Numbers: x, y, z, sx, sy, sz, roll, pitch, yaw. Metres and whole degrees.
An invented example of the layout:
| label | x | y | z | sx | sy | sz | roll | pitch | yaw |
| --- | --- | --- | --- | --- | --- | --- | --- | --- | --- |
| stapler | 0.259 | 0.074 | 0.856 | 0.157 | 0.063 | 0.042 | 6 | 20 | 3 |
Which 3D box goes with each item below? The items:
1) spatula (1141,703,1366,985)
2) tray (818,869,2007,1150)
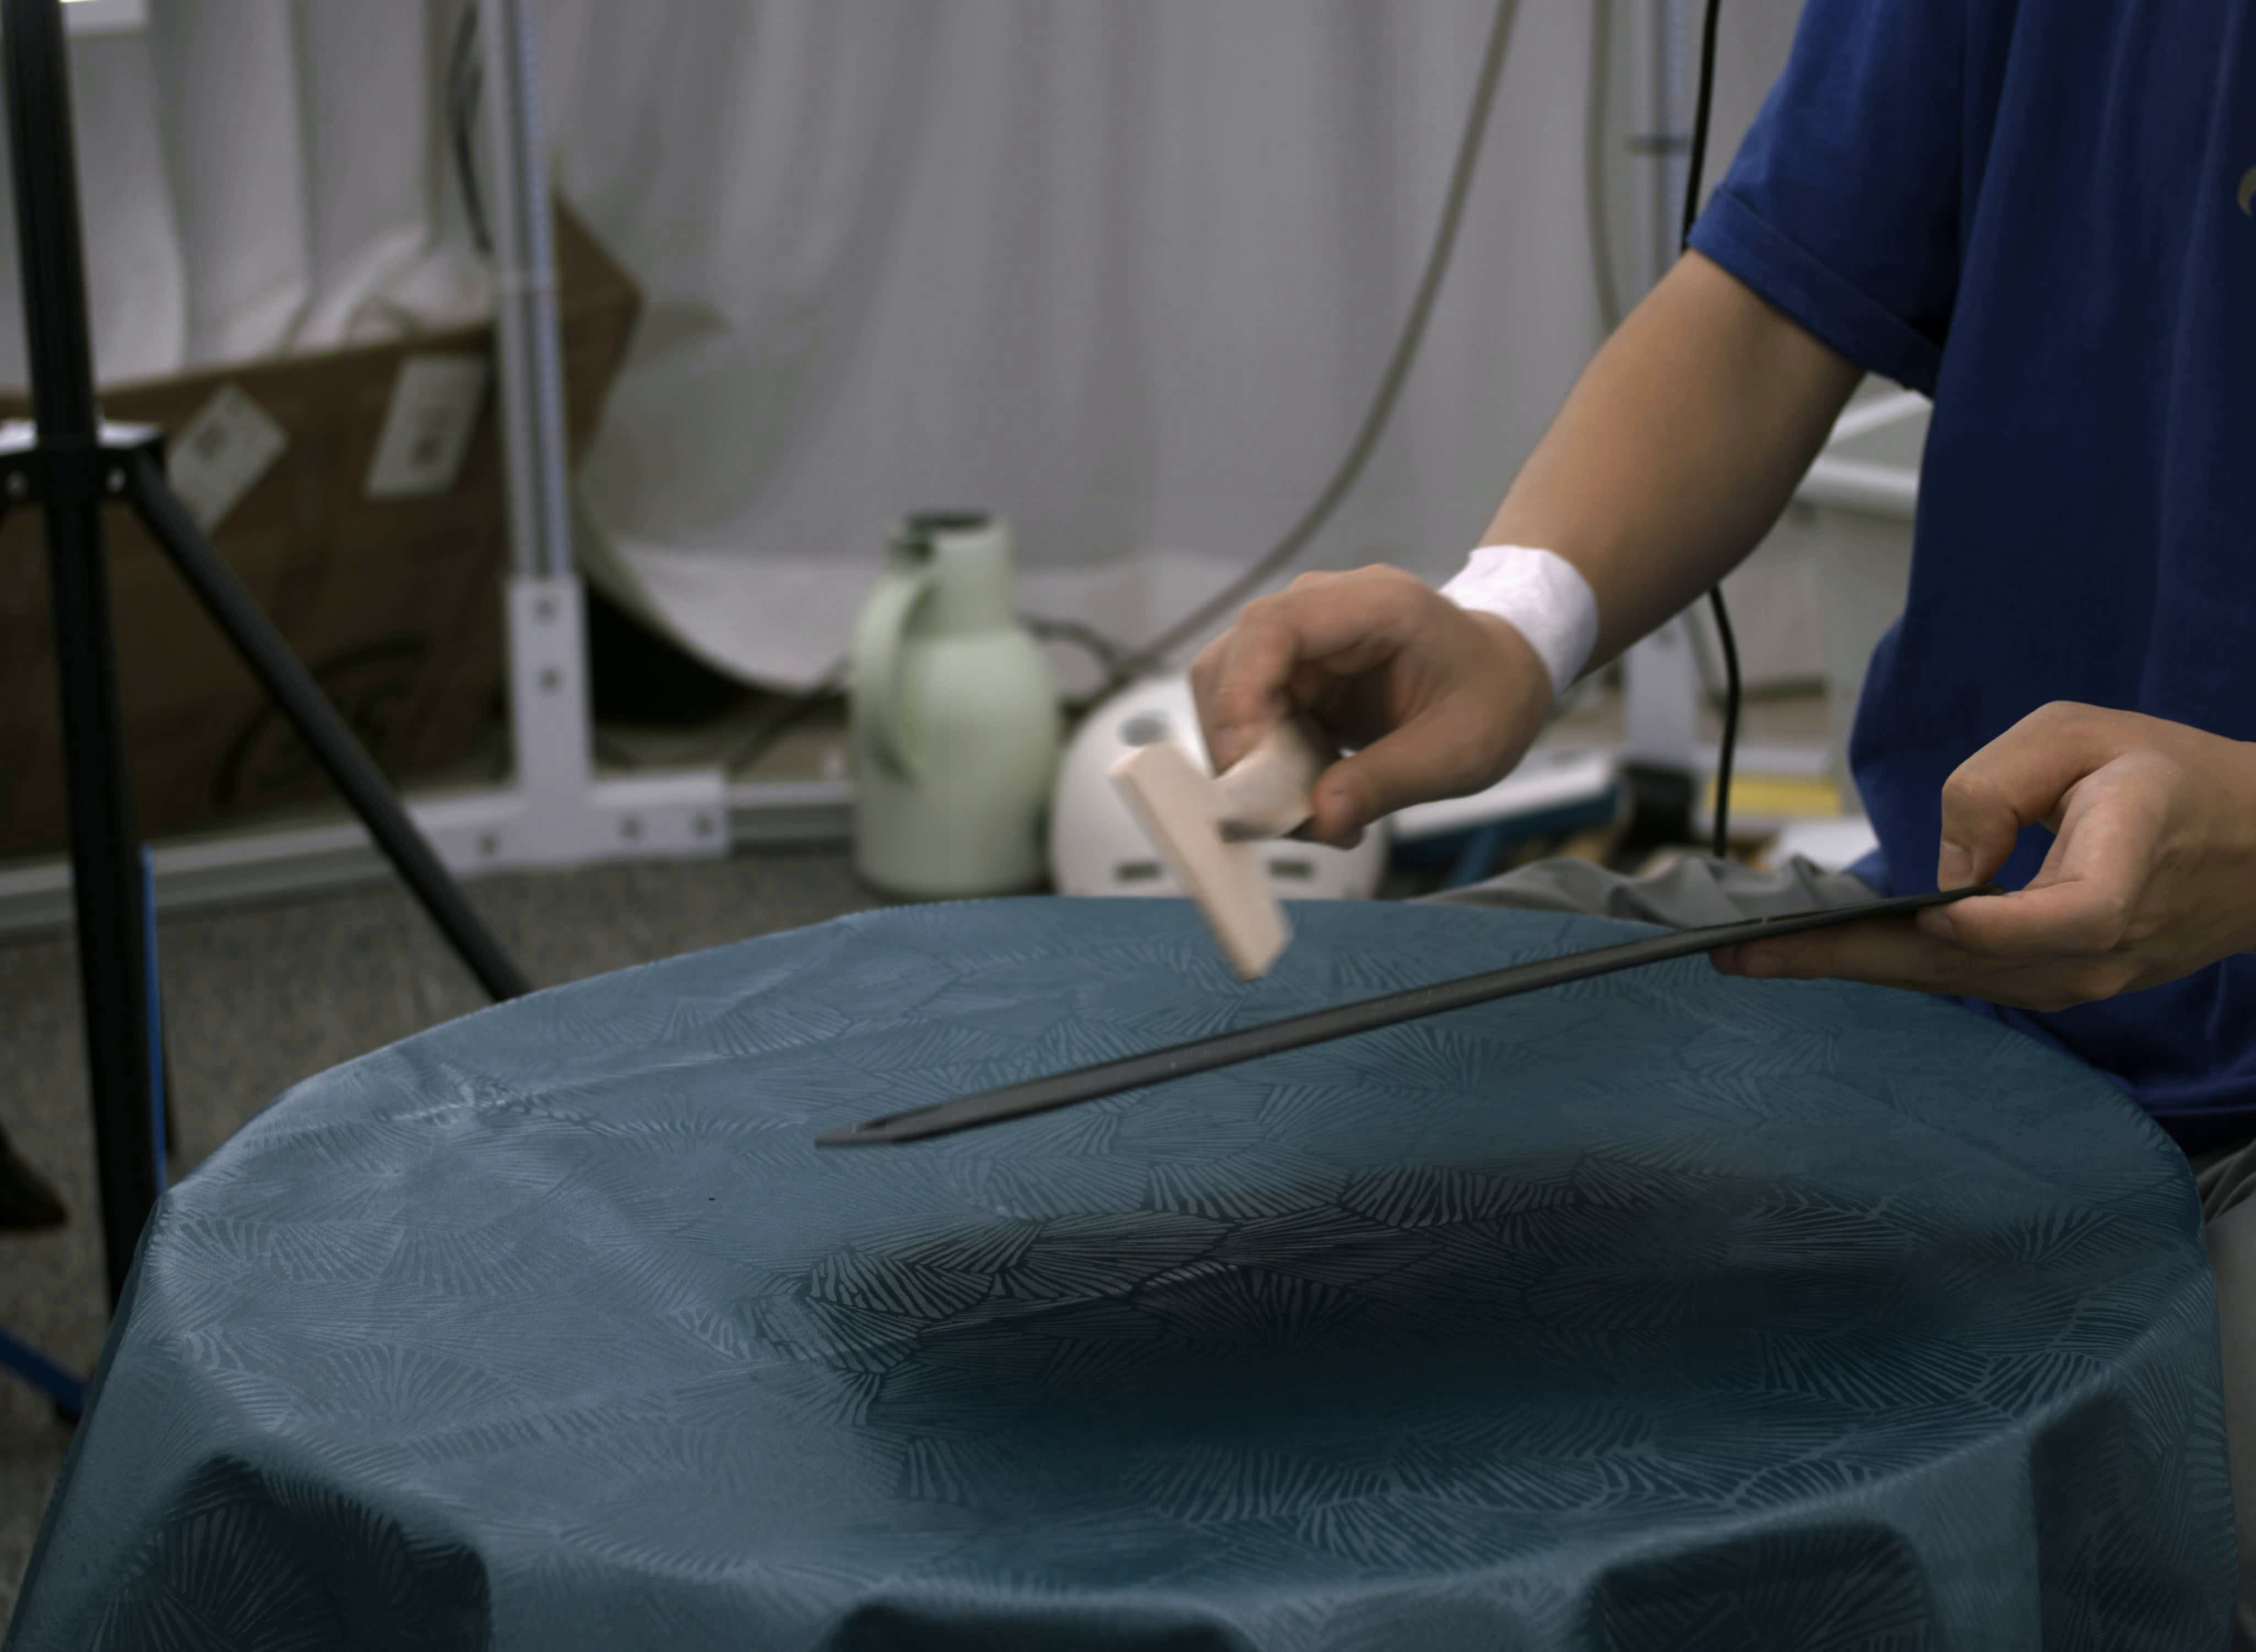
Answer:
| label | x | y | z | sx | sy | sz | roll | pitch | yaw |
| --- | --- | --- | --- | --- | --- | --- | --- | --- | --- |
| spatula | 0.043 | -0.008 | 1.566 | 0.011 | 0.072 | 0.291 | -32 | 2 | 12 |
| tray | 0.080 | 0.049 | 1.452 | 0.321 | 0.010 | 0.212 | -13 | -1 | -11 |
